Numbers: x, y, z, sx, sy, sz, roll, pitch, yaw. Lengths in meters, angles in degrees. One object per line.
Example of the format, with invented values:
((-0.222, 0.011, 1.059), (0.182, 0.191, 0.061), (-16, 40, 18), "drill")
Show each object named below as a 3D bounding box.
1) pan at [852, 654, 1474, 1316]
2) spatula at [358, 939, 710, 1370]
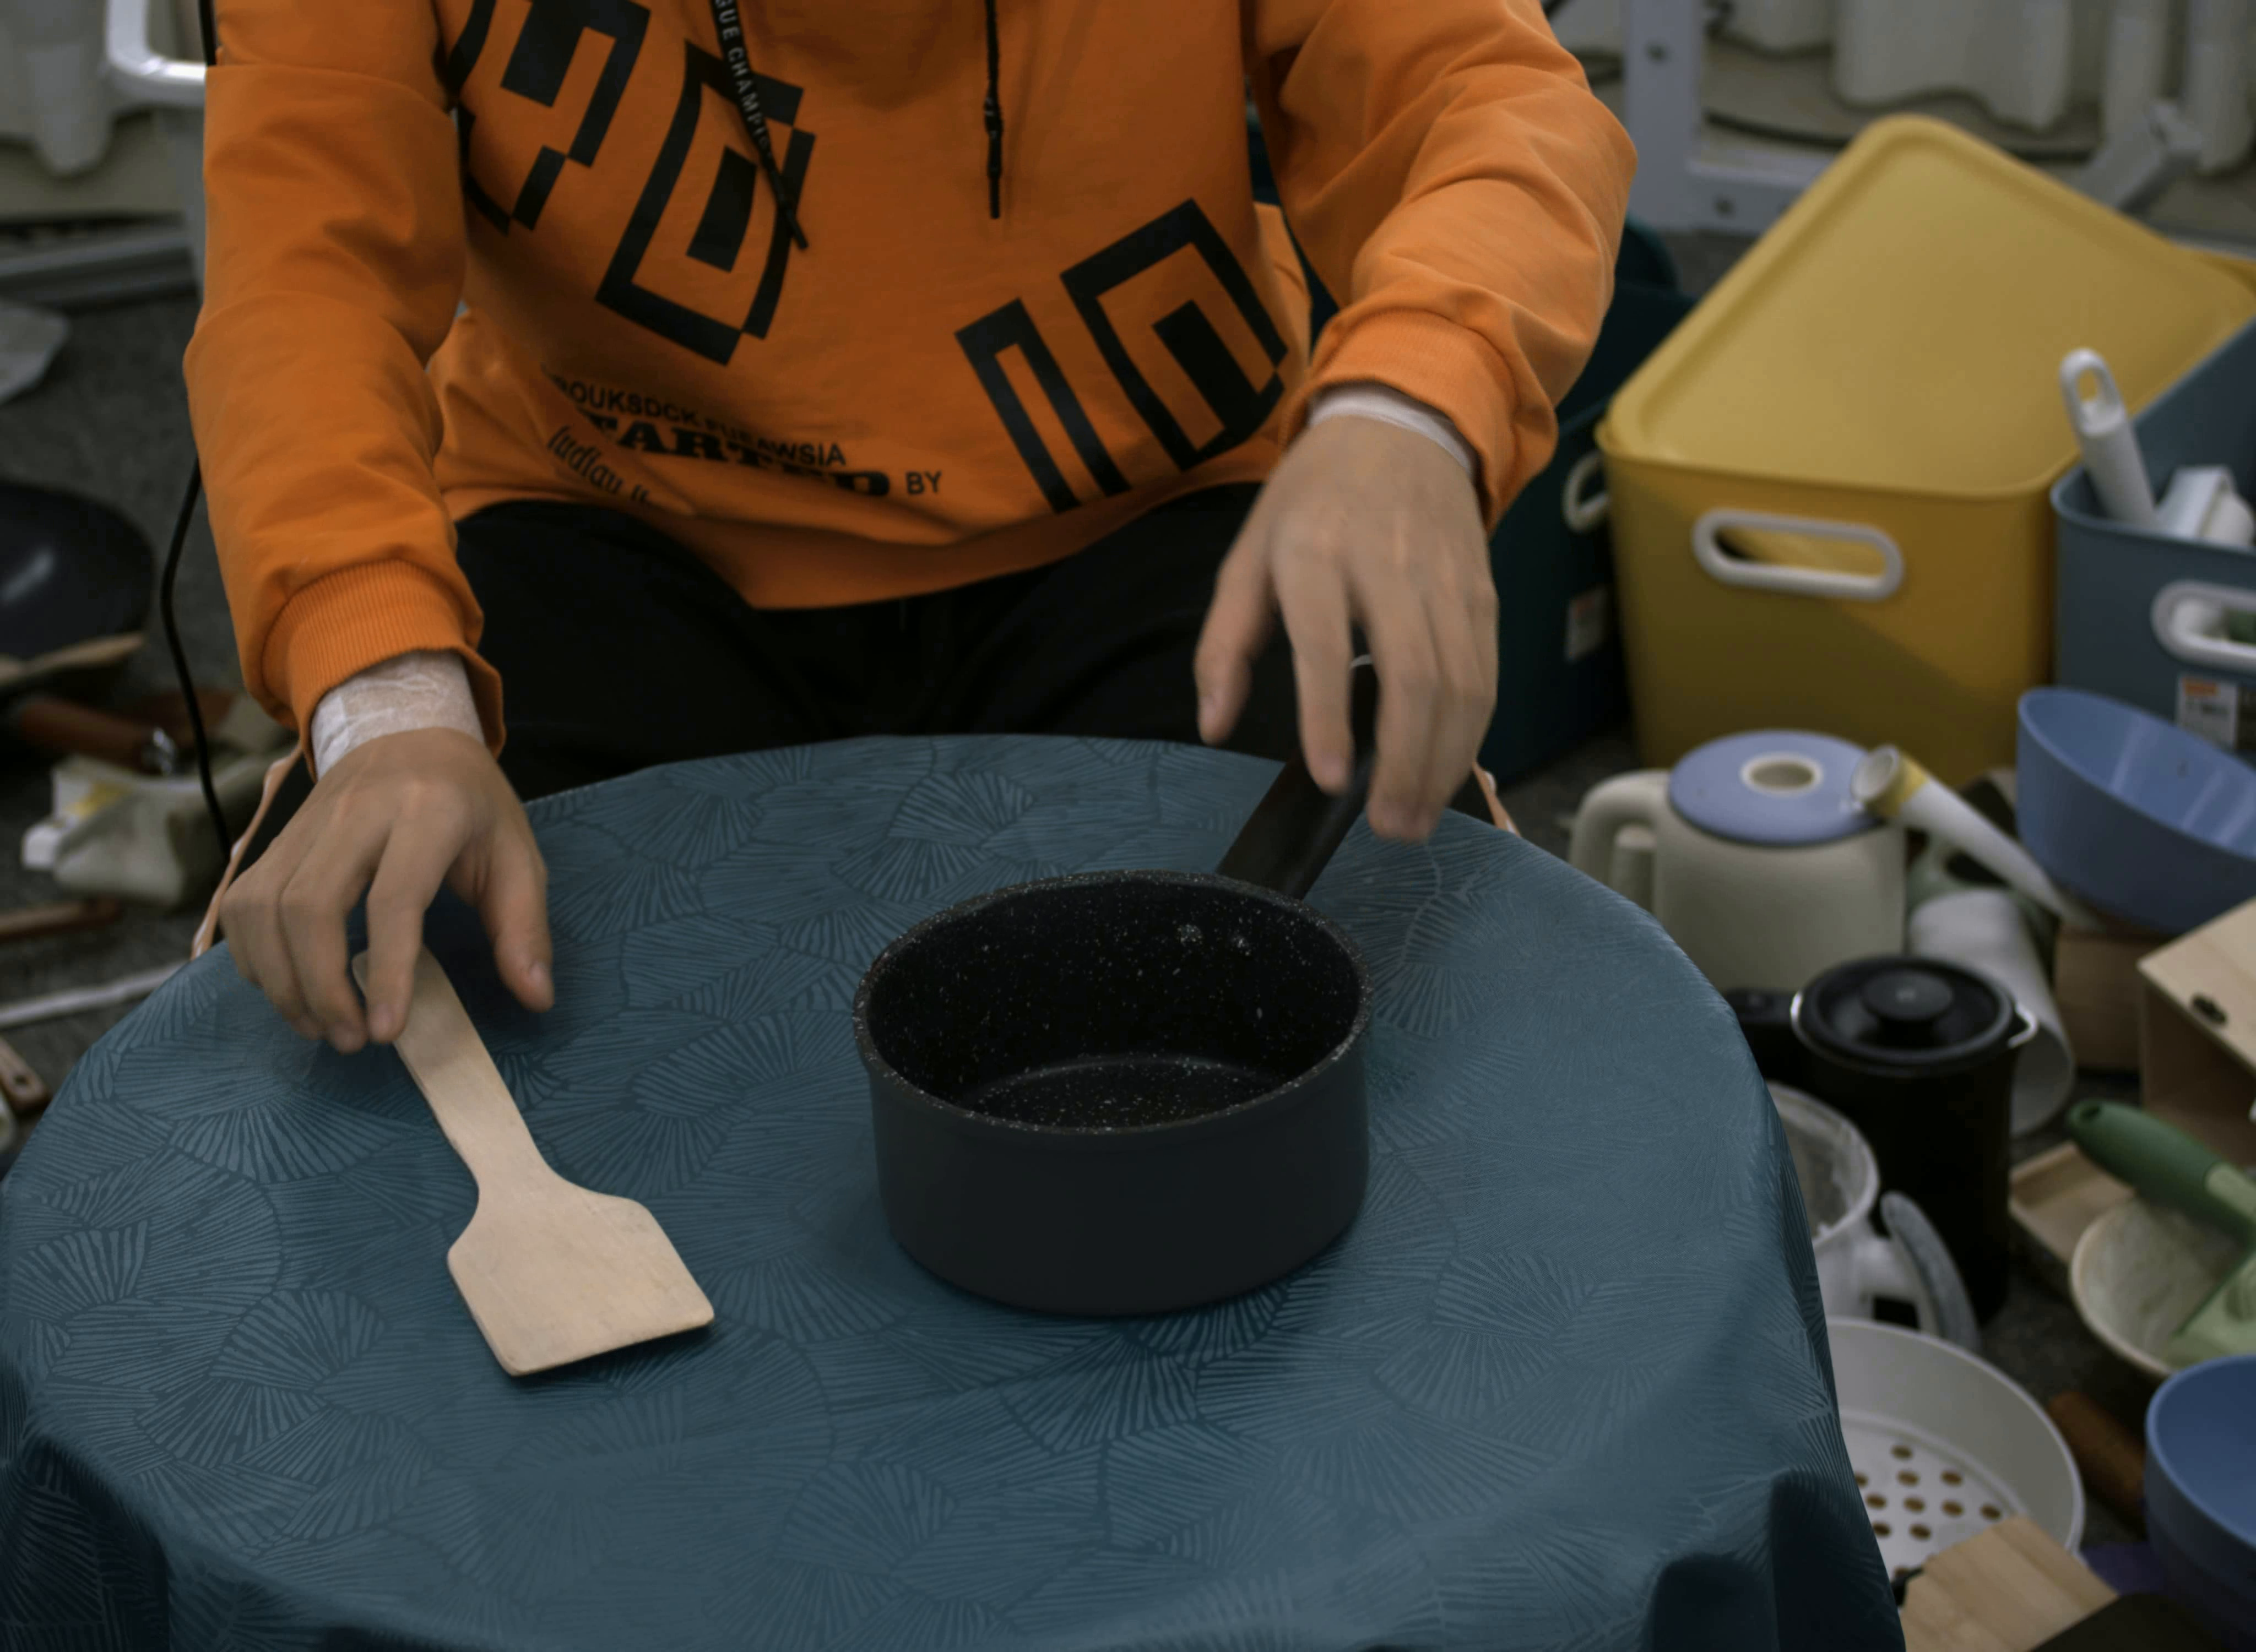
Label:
((0.034, 0.050, 1.907), (0.171, 0.085, 0.334), (12, 32, 25), "pan")
((-0.216, 0.106, 1.903), (0.072, 0.010, 0.295), (-14, 29, -16), "spatula")
